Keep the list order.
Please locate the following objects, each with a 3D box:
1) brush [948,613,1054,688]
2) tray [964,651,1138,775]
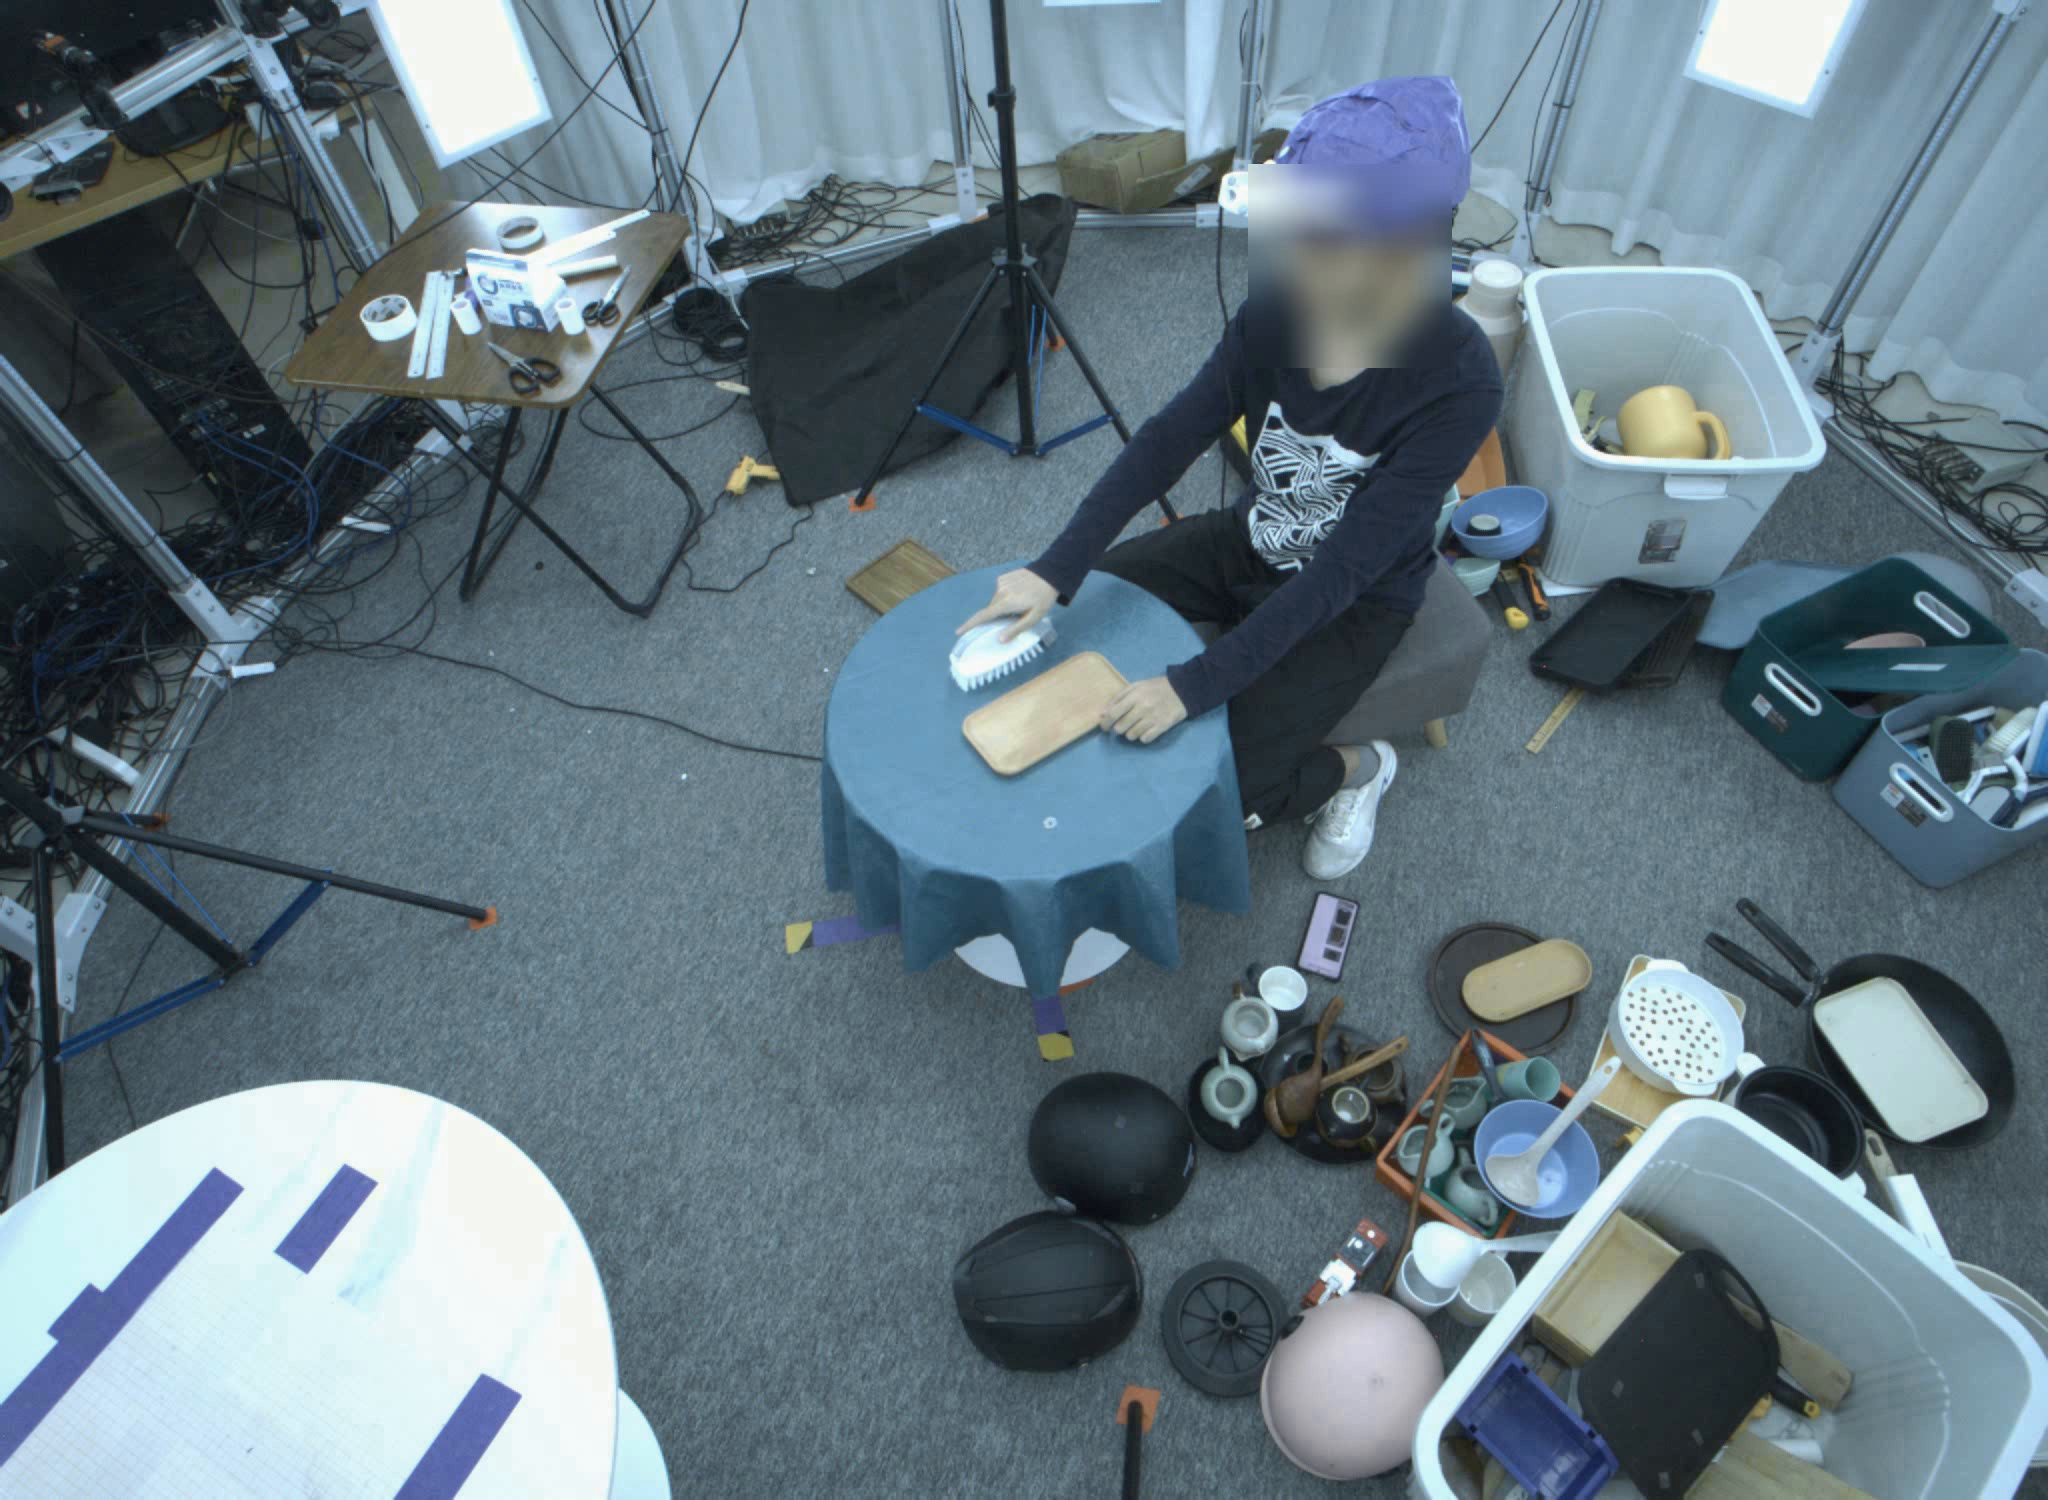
[{"bbox_3d":[-0.032,-0.167,1.844,0.177,0.095,0.060,-24,57,-17],"label":"brush"},{"bbox_3d":[0.040,-0.056,1.808,0.253,0.023,0.128,-28,61,-18],"label":"tray"}]
